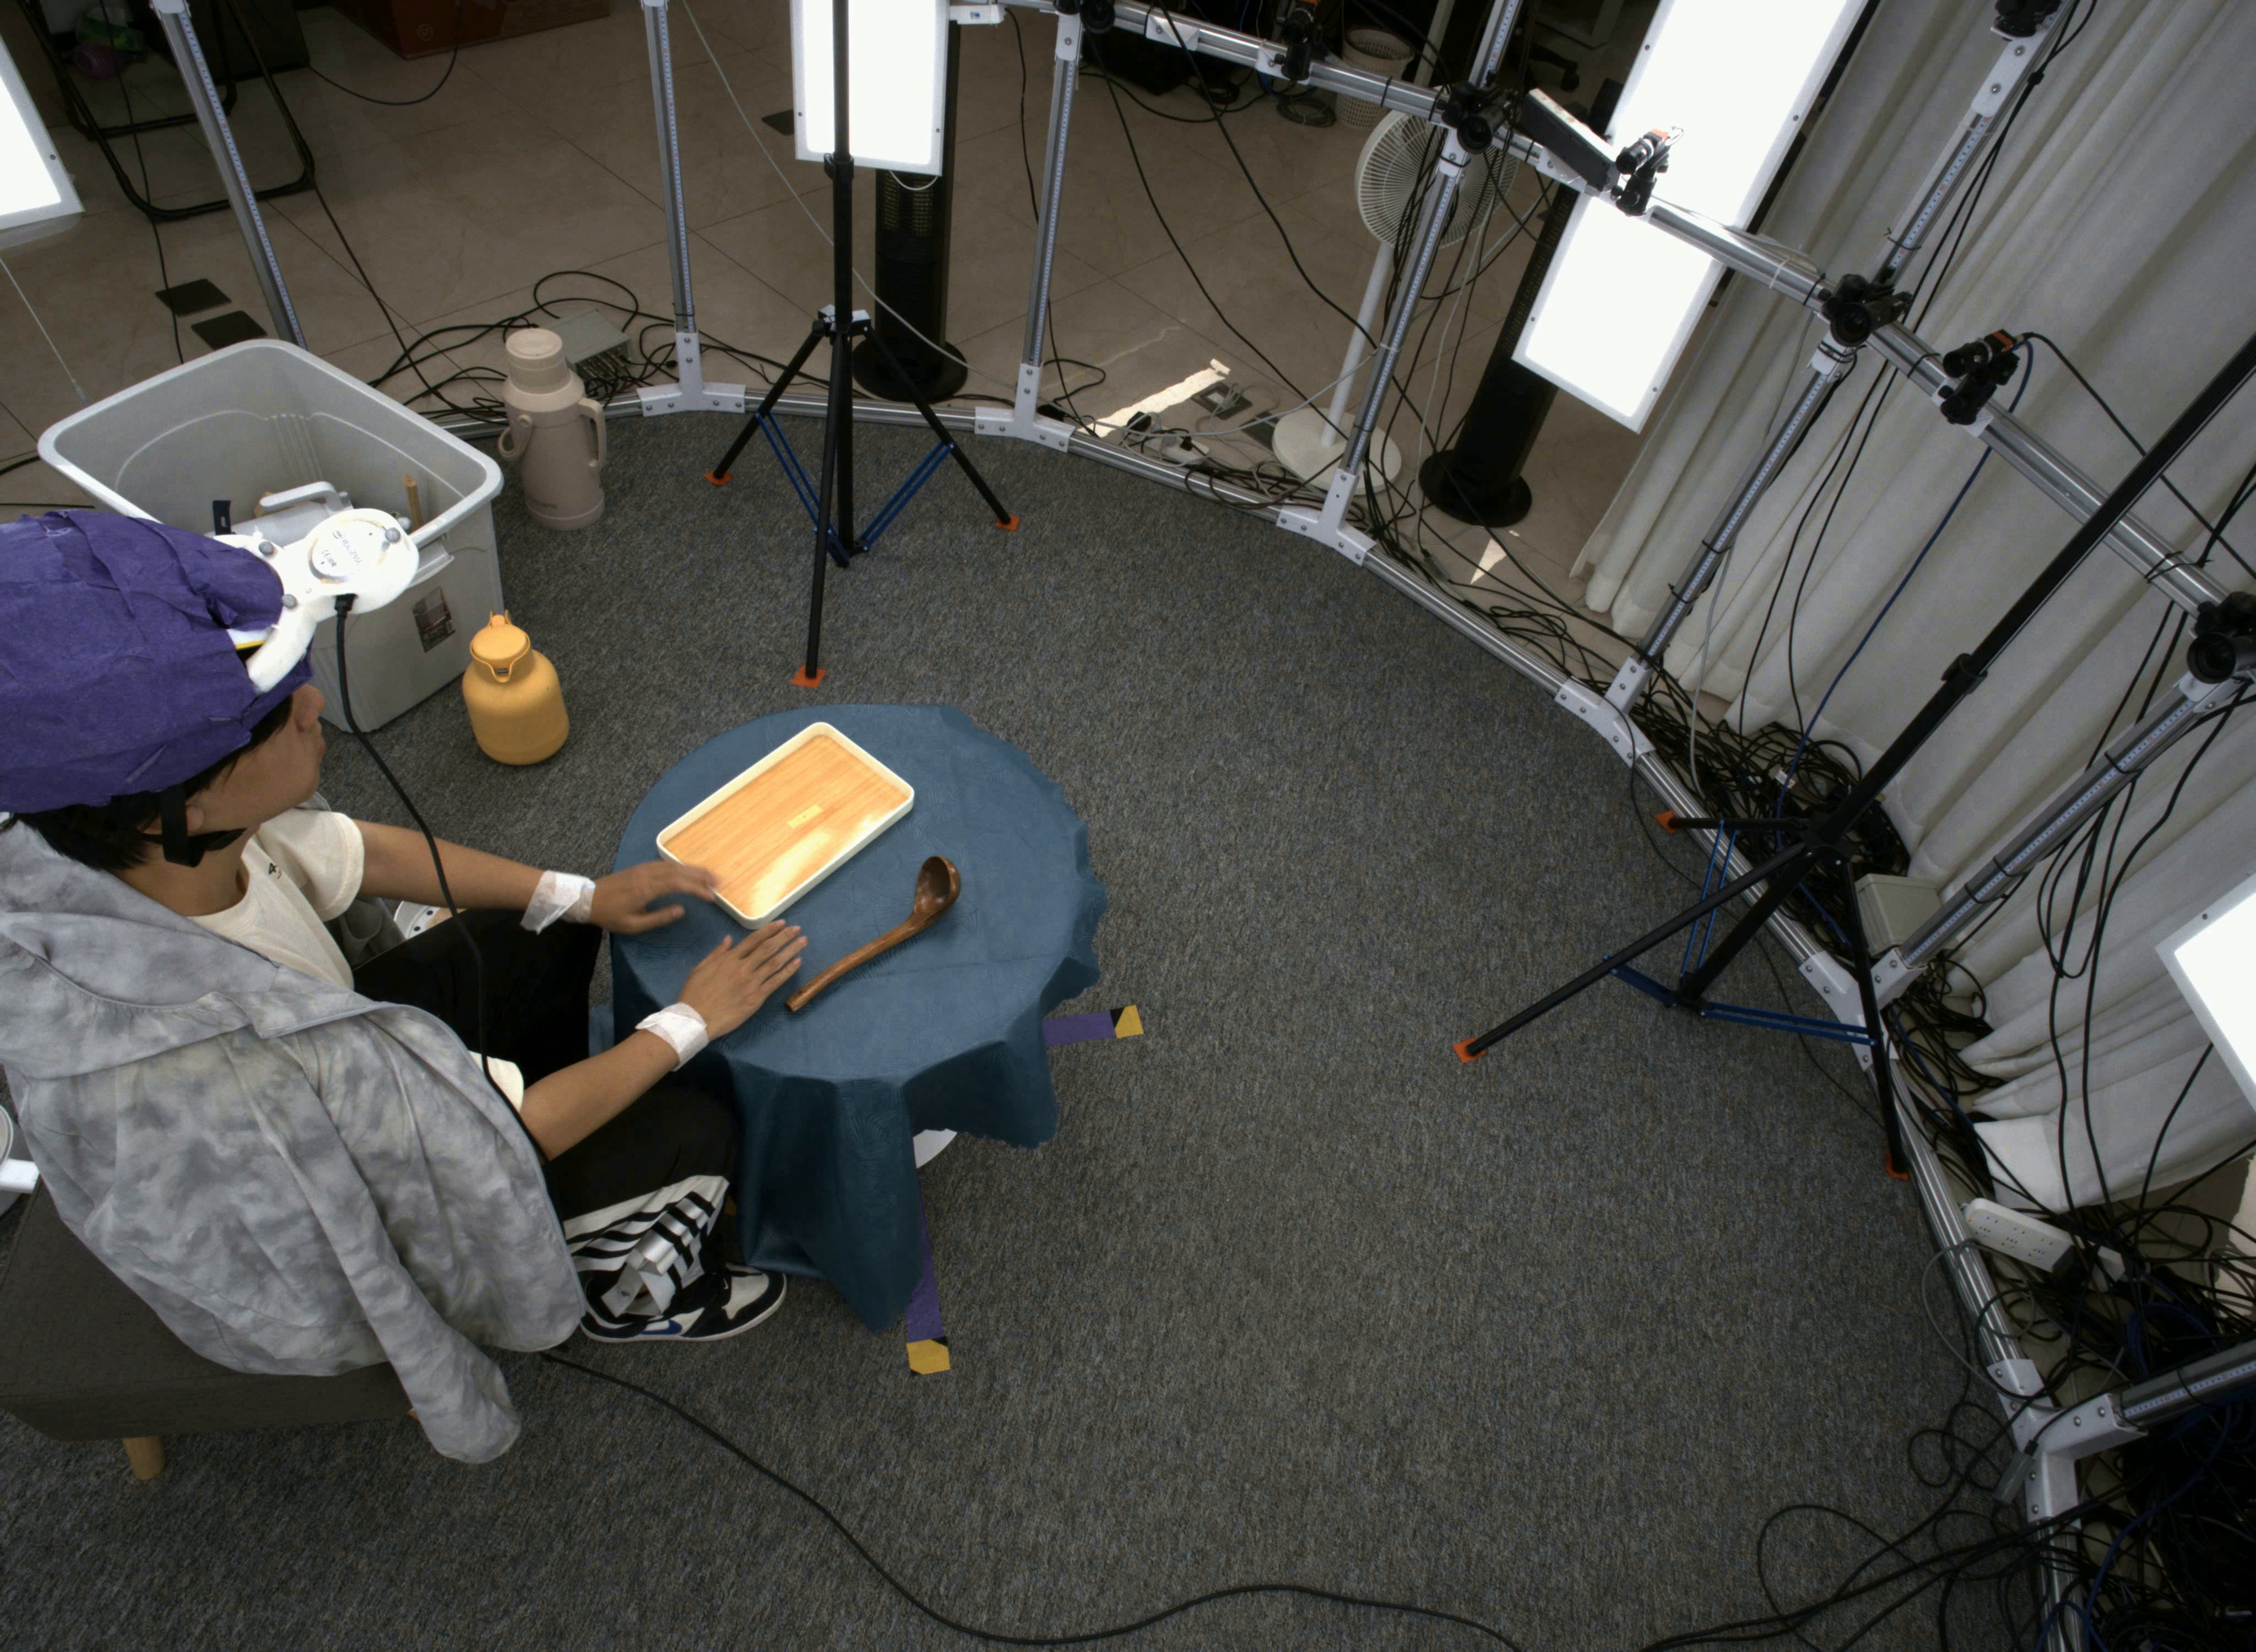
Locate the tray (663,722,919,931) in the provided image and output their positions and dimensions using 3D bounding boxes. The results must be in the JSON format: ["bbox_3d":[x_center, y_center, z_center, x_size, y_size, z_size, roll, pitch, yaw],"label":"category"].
[{"bbox_3d":[-0.441,-0.007,1.710,0.188,0.028,0.300,37,54,14],"label":"tray"}]

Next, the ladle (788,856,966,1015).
[{"bbox_3d":[-0.314,0.128,1.613,0.275,0.079,0.079,-32,24,-30],"label":"ladle"}]
